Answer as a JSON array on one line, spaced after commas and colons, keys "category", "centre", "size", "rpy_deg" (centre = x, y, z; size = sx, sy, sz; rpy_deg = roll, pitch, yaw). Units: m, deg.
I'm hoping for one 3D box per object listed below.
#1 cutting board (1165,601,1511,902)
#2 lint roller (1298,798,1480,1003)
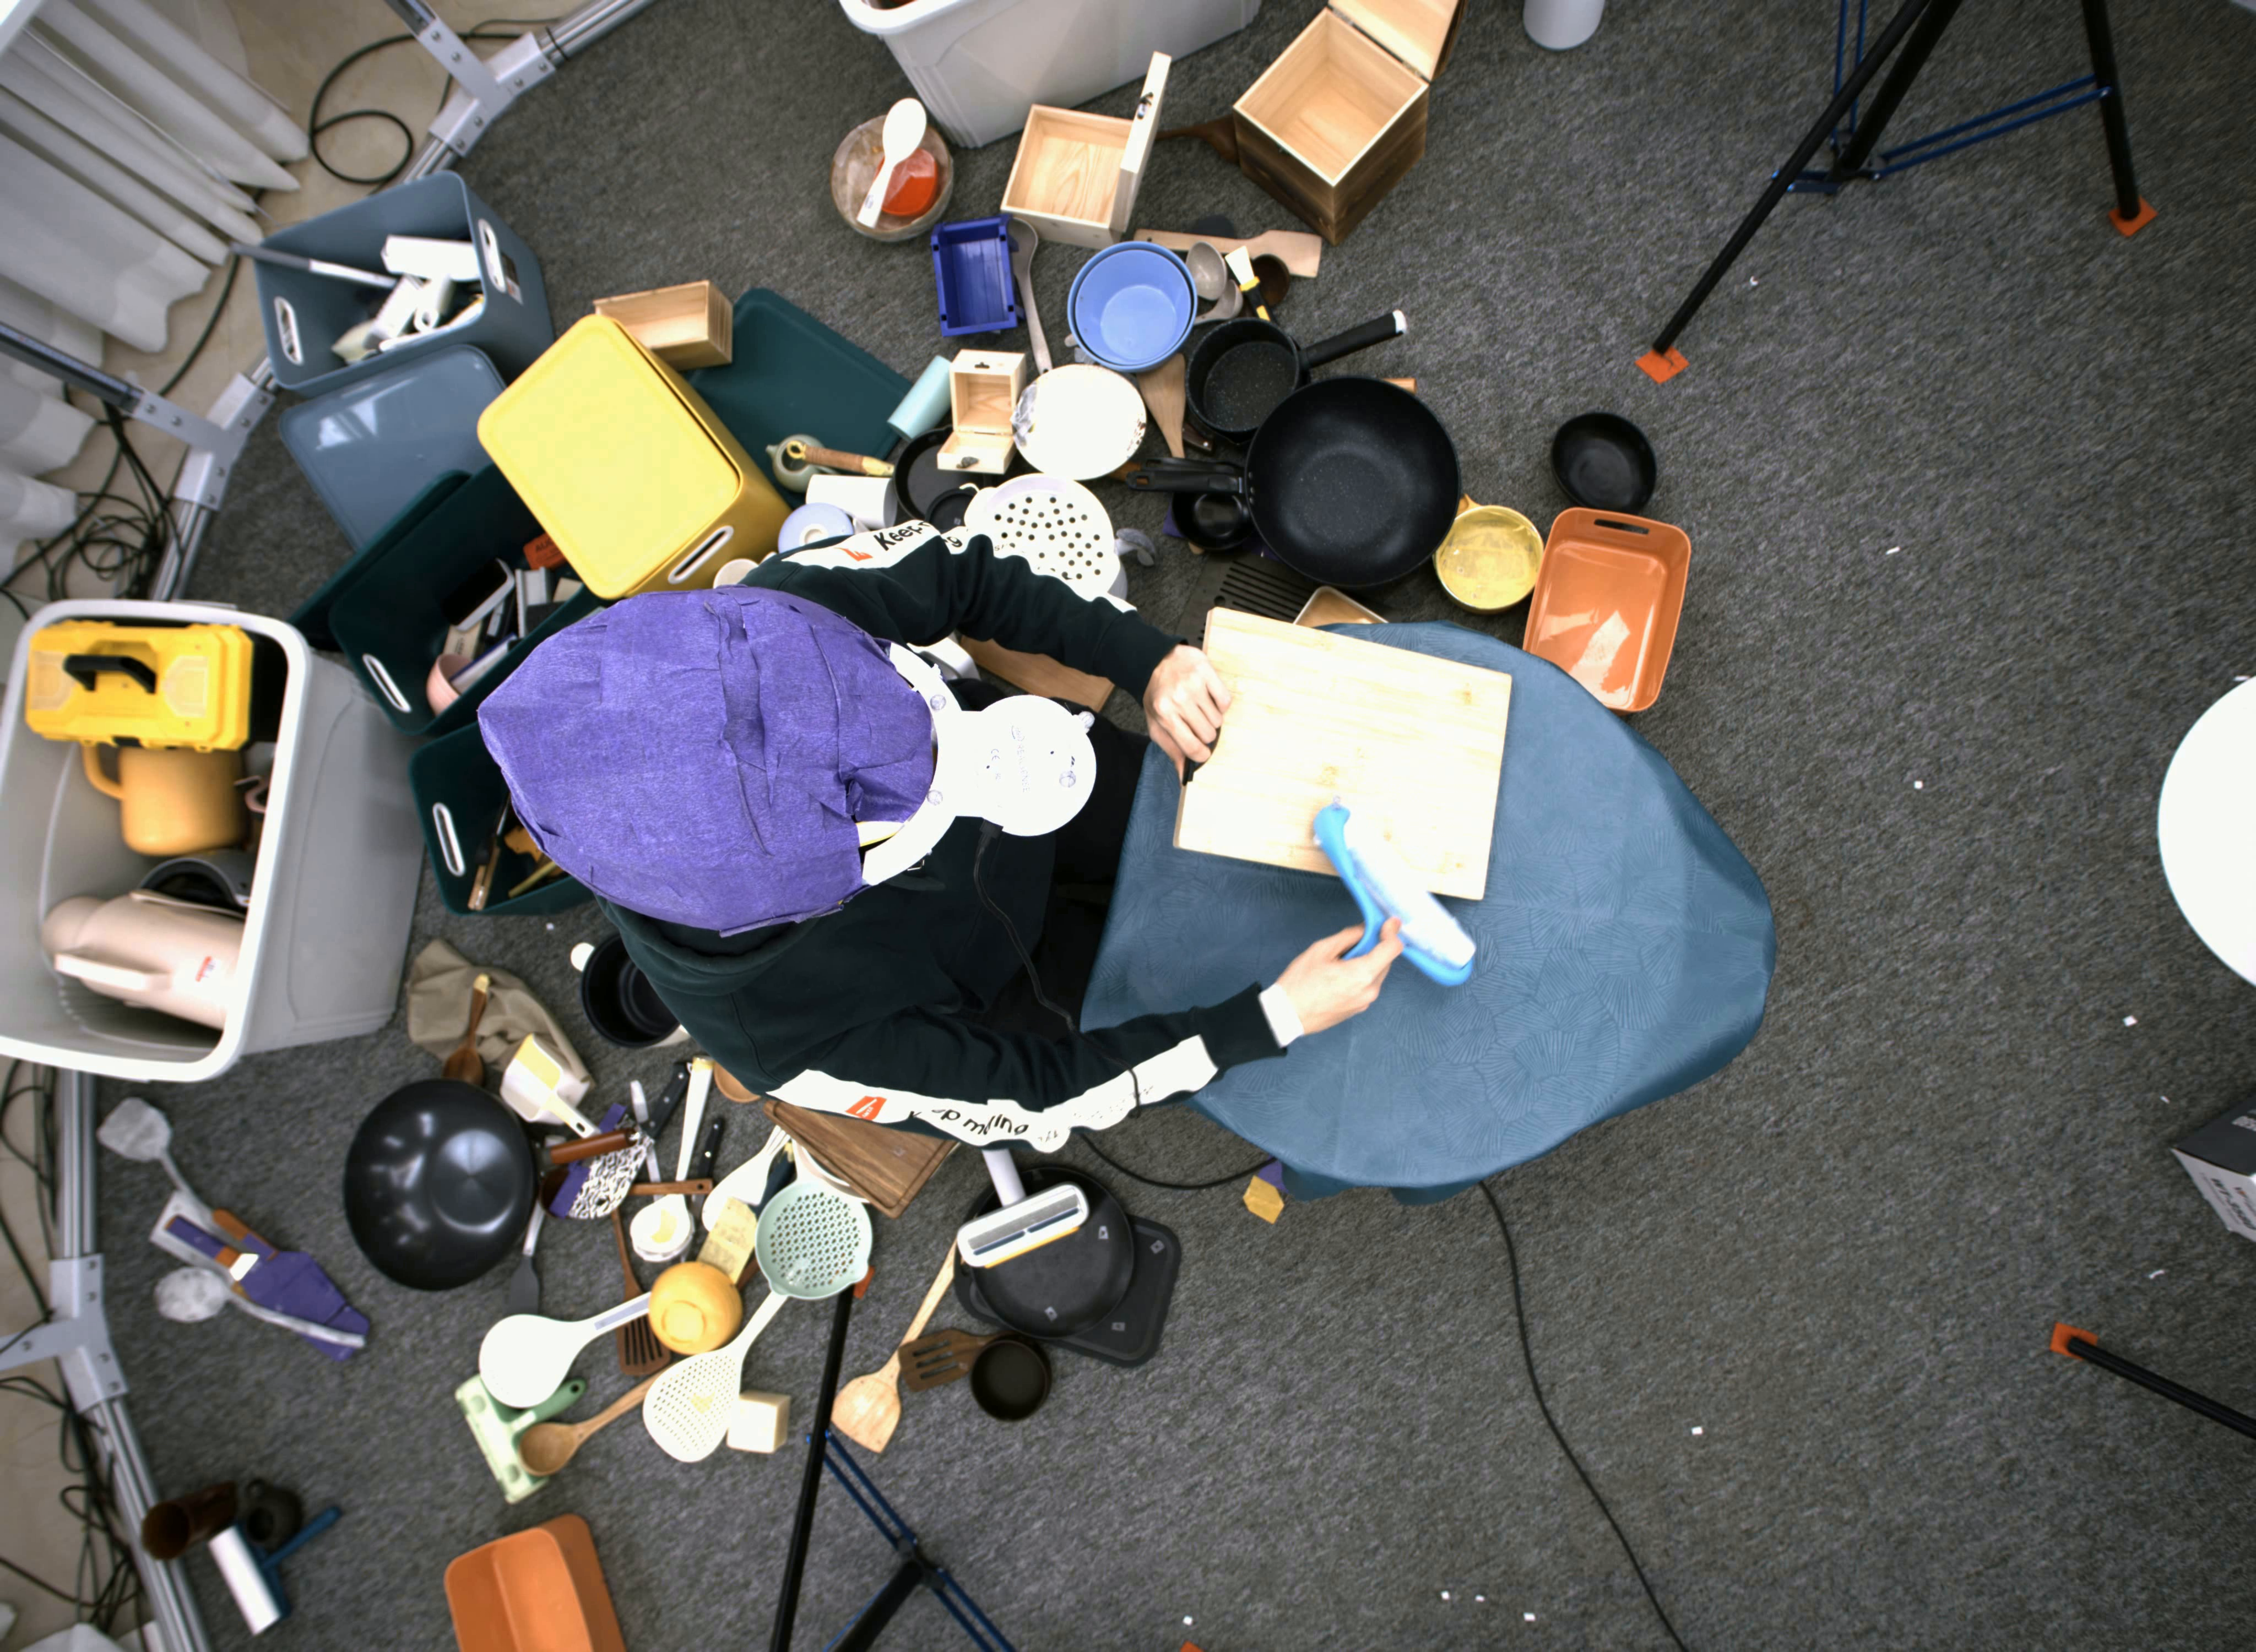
[{"category": "cutting board", "centre": [0.217, -0.071, 1.385], "size": [0.348, 0.023, 0.250], "rpy_deg": [9, 88, -17]}, {"category": "lint roller", "centre": [0.236, 0.101, 1.344], "size": [0.230, 0.068, 0.177], "rpy_deg": [45, 69, -16]}]
